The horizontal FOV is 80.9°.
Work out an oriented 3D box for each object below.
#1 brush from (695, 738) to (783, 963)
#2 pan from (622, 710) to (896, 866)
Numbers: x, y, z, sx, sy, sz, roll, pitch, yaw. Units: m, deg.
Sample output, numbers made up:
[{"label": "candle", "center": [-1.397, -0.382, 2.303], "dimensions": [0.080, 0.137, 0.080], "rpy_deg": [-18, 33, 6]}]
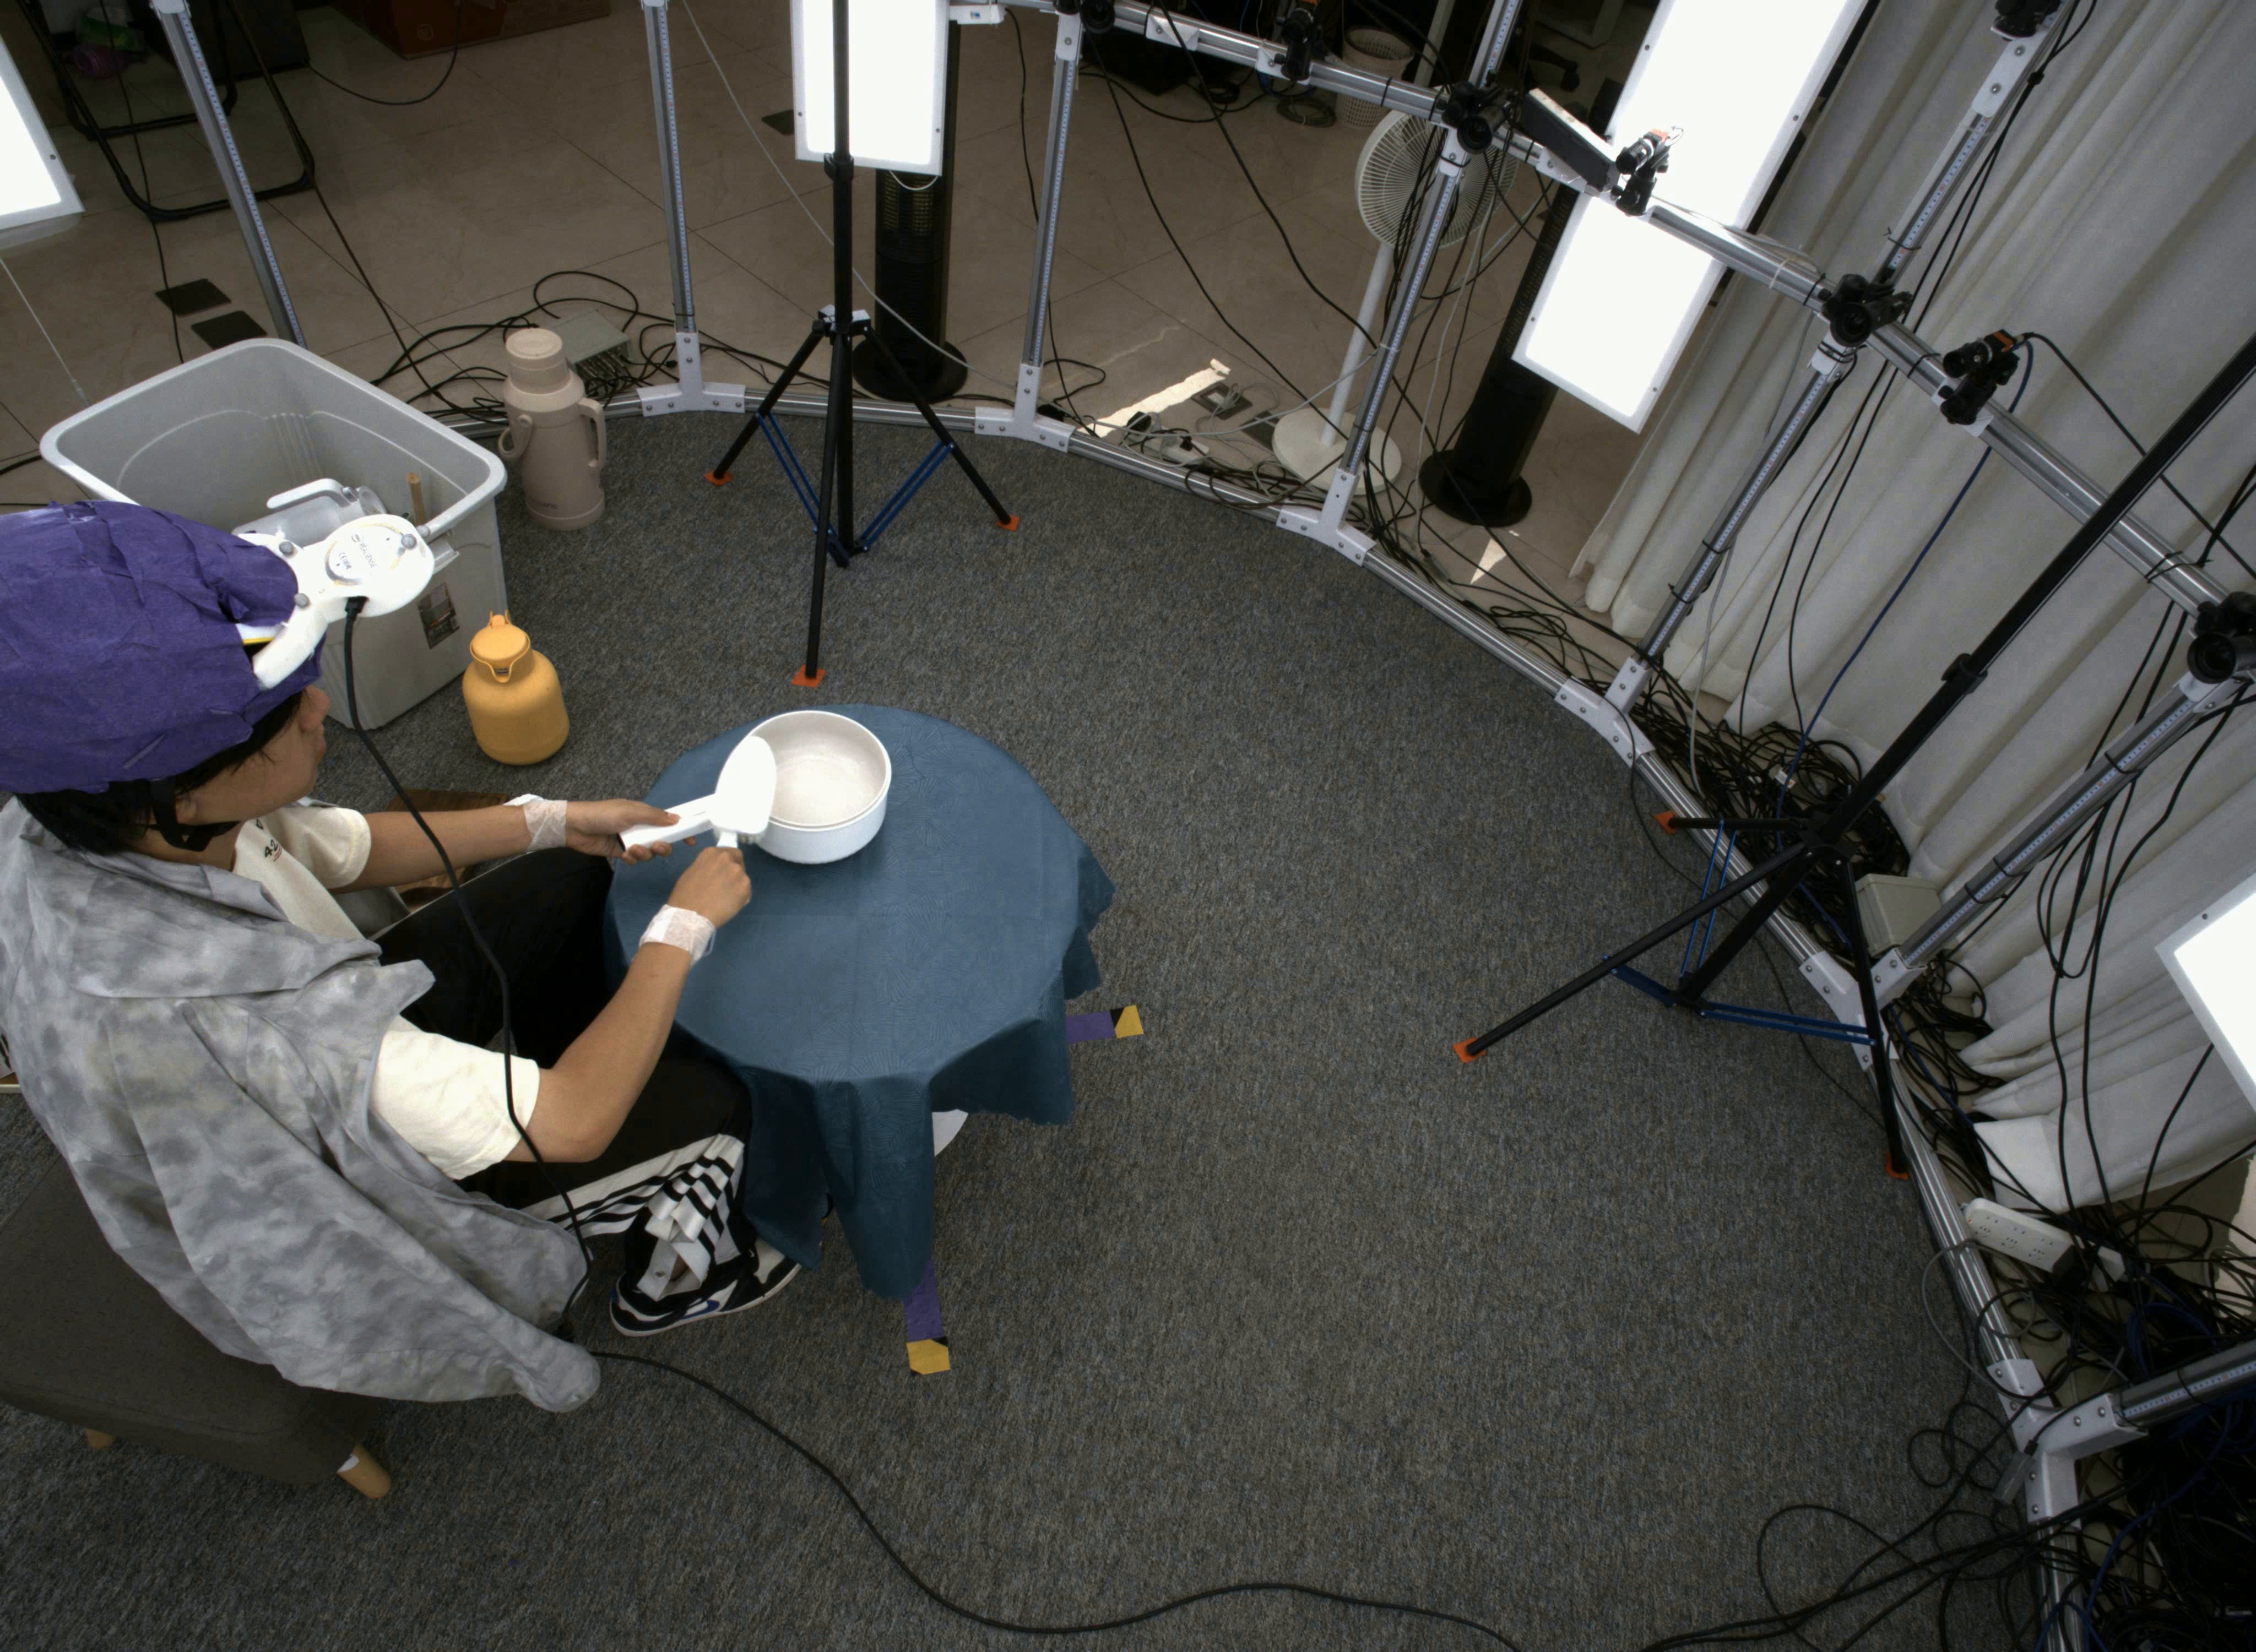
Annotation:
[{"label": "brush", "center": [-0.465, 0.036, 1.520], "dimensions": [0.081, 0.088, 0.319], "rpy_deg": [-13, 50, 19]}, {"label": "pan", "center": [-0.469, -0.019, 1.660], "dimensions": [0.356, 0.104, 0.196], "rpy_deg": [-23, 62, -29]}]
